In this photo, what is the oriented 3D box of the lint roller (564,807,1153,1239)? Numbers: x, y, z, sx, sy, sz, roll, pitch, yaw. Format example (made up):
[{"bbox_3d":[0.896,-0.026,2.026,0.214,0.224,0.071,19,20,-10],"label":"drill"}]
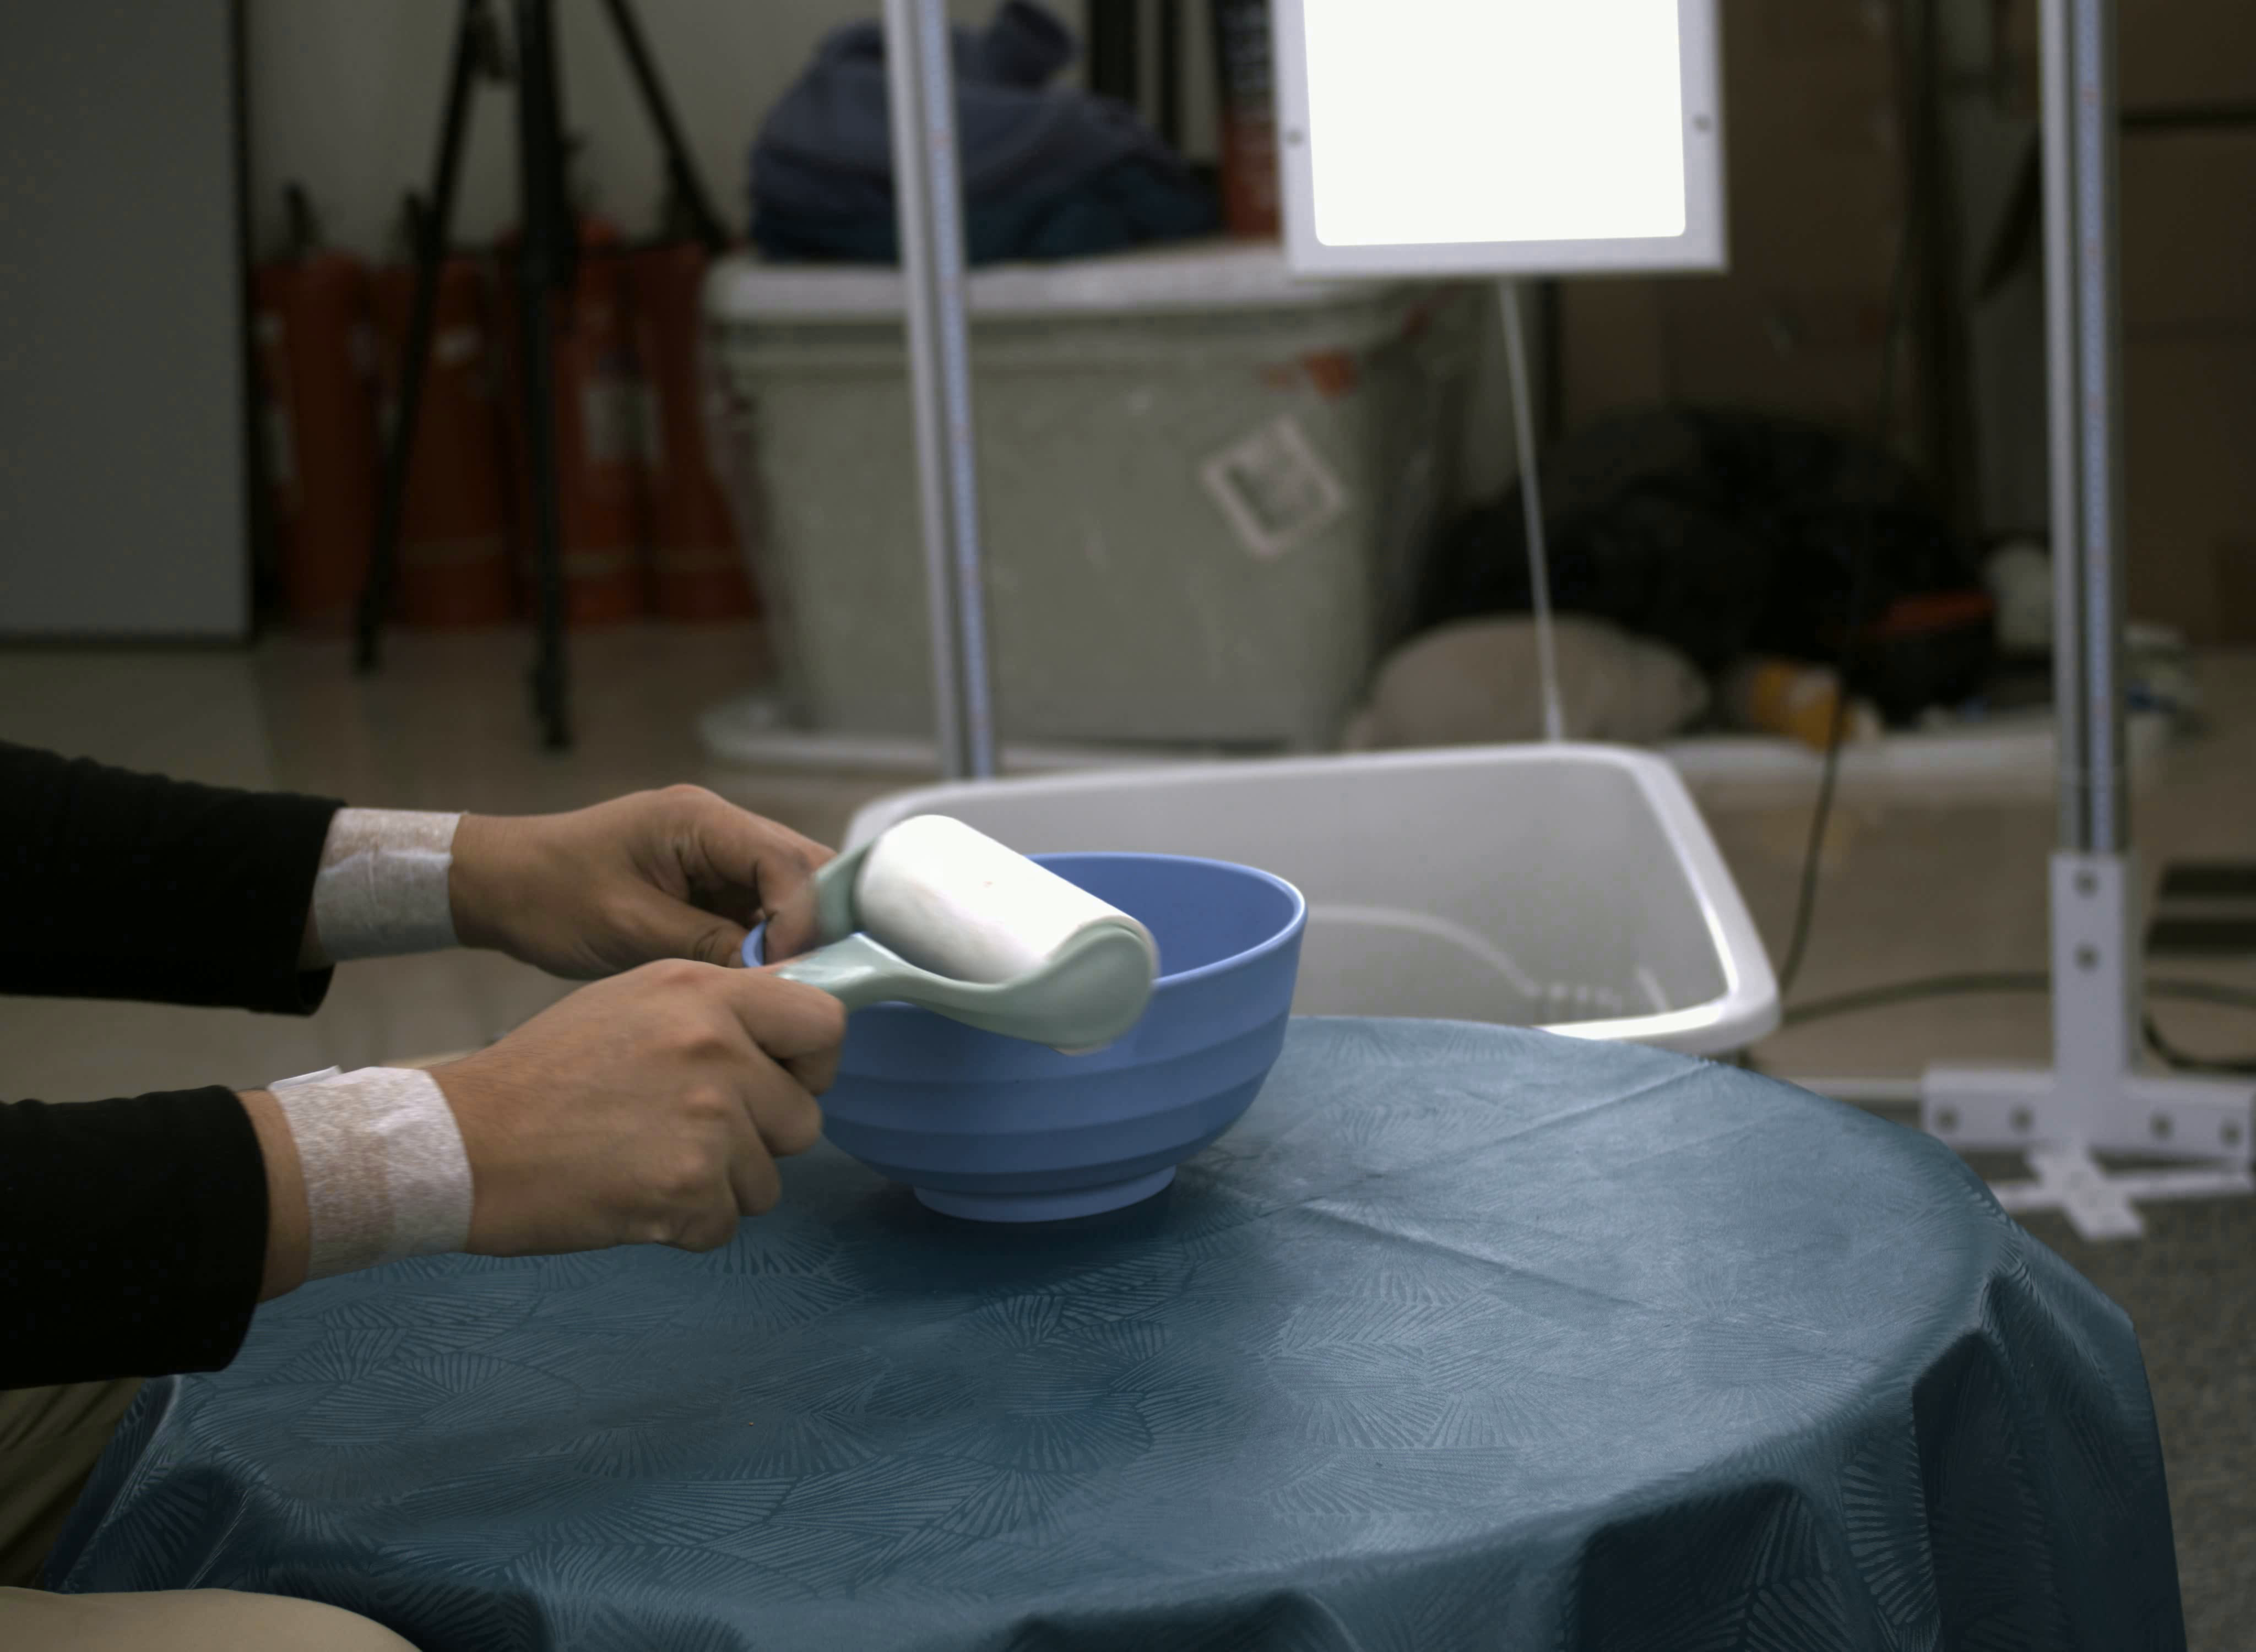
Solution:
[{"bbox_3d":[-0.098,0.063,1.721,0.194,0.048,0.119,-29,35,-24],"label":"lint roller"}]

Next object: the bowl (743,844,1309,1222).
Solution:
[{"bbox_3d":[-0.032,0.078,1.907,0.196,0.096,0.196,-5,15,0],"label":"bowl"}]
